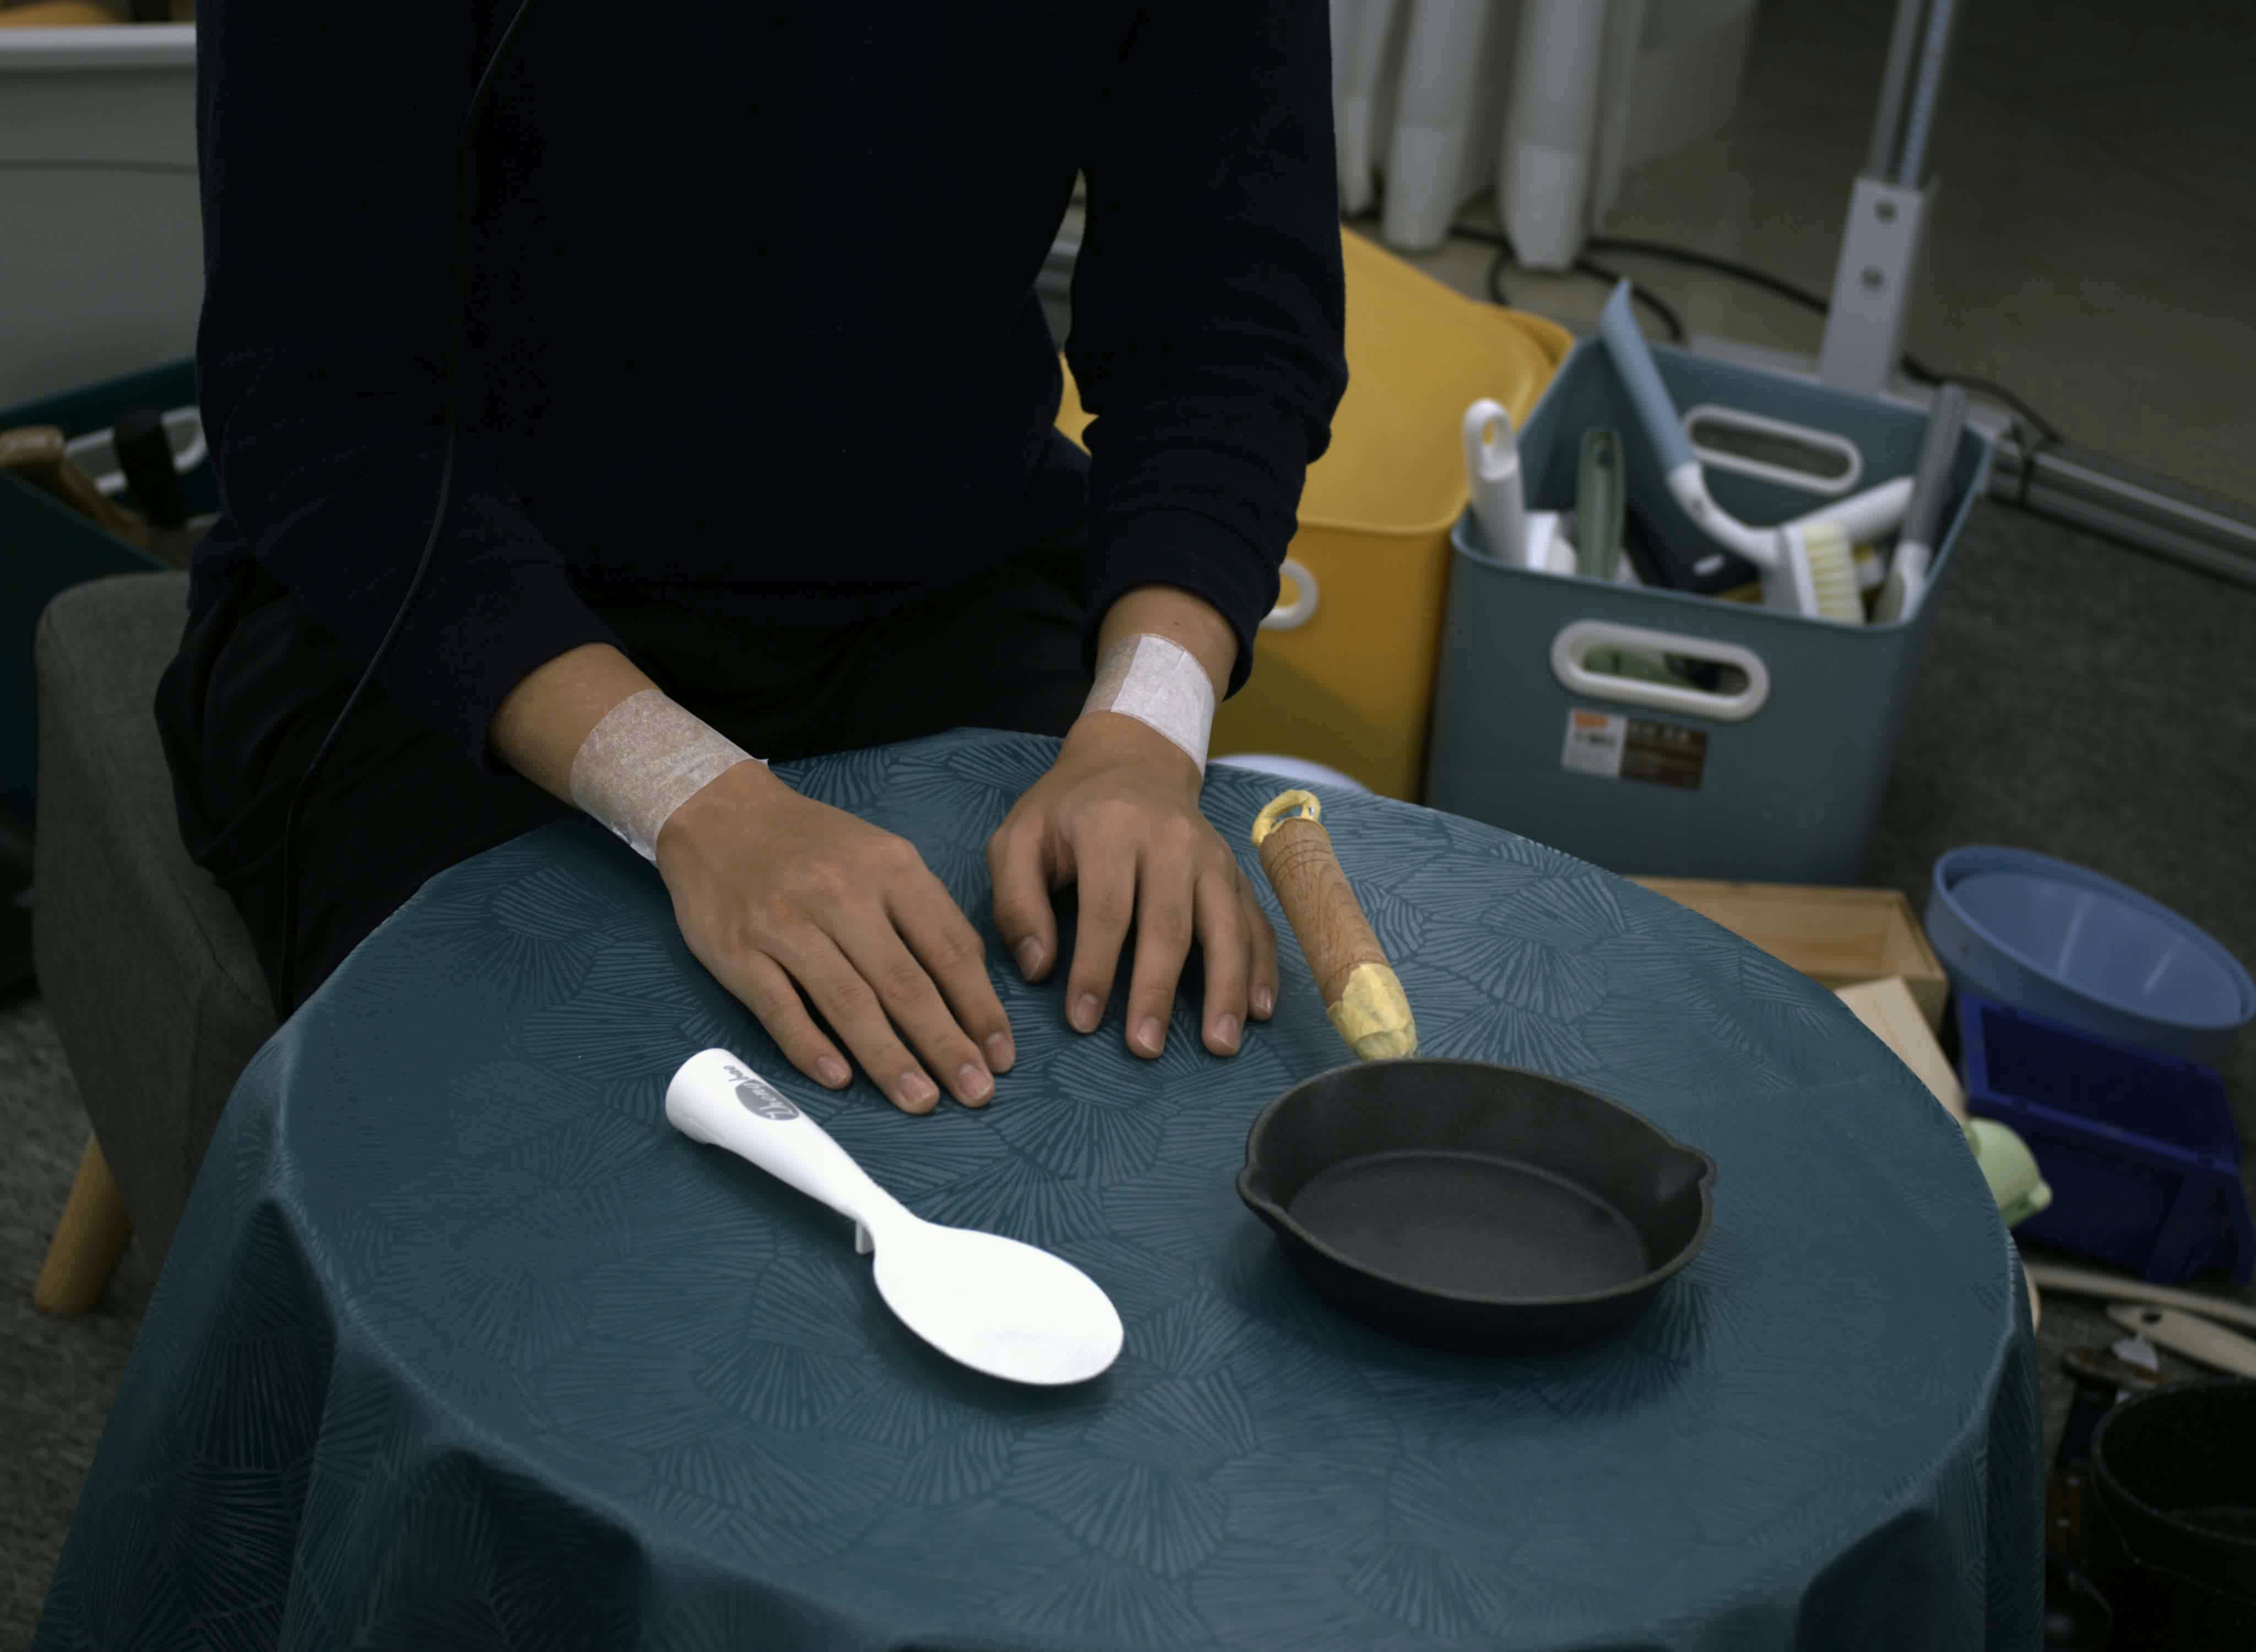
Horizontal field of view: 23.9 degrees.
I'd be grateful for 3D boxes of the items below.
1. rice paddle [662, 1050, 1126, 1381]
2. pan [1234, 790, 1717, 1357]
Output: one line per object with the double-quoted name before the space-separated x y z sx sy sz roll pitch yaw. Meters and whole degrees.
"rice paddle" -0.078 0.129 1.742 0.068 0.029 0.207 -19 36 -38
"pan" 0.096 0.083 1.848 0.168 0.049 0.327 -1 29 -15
